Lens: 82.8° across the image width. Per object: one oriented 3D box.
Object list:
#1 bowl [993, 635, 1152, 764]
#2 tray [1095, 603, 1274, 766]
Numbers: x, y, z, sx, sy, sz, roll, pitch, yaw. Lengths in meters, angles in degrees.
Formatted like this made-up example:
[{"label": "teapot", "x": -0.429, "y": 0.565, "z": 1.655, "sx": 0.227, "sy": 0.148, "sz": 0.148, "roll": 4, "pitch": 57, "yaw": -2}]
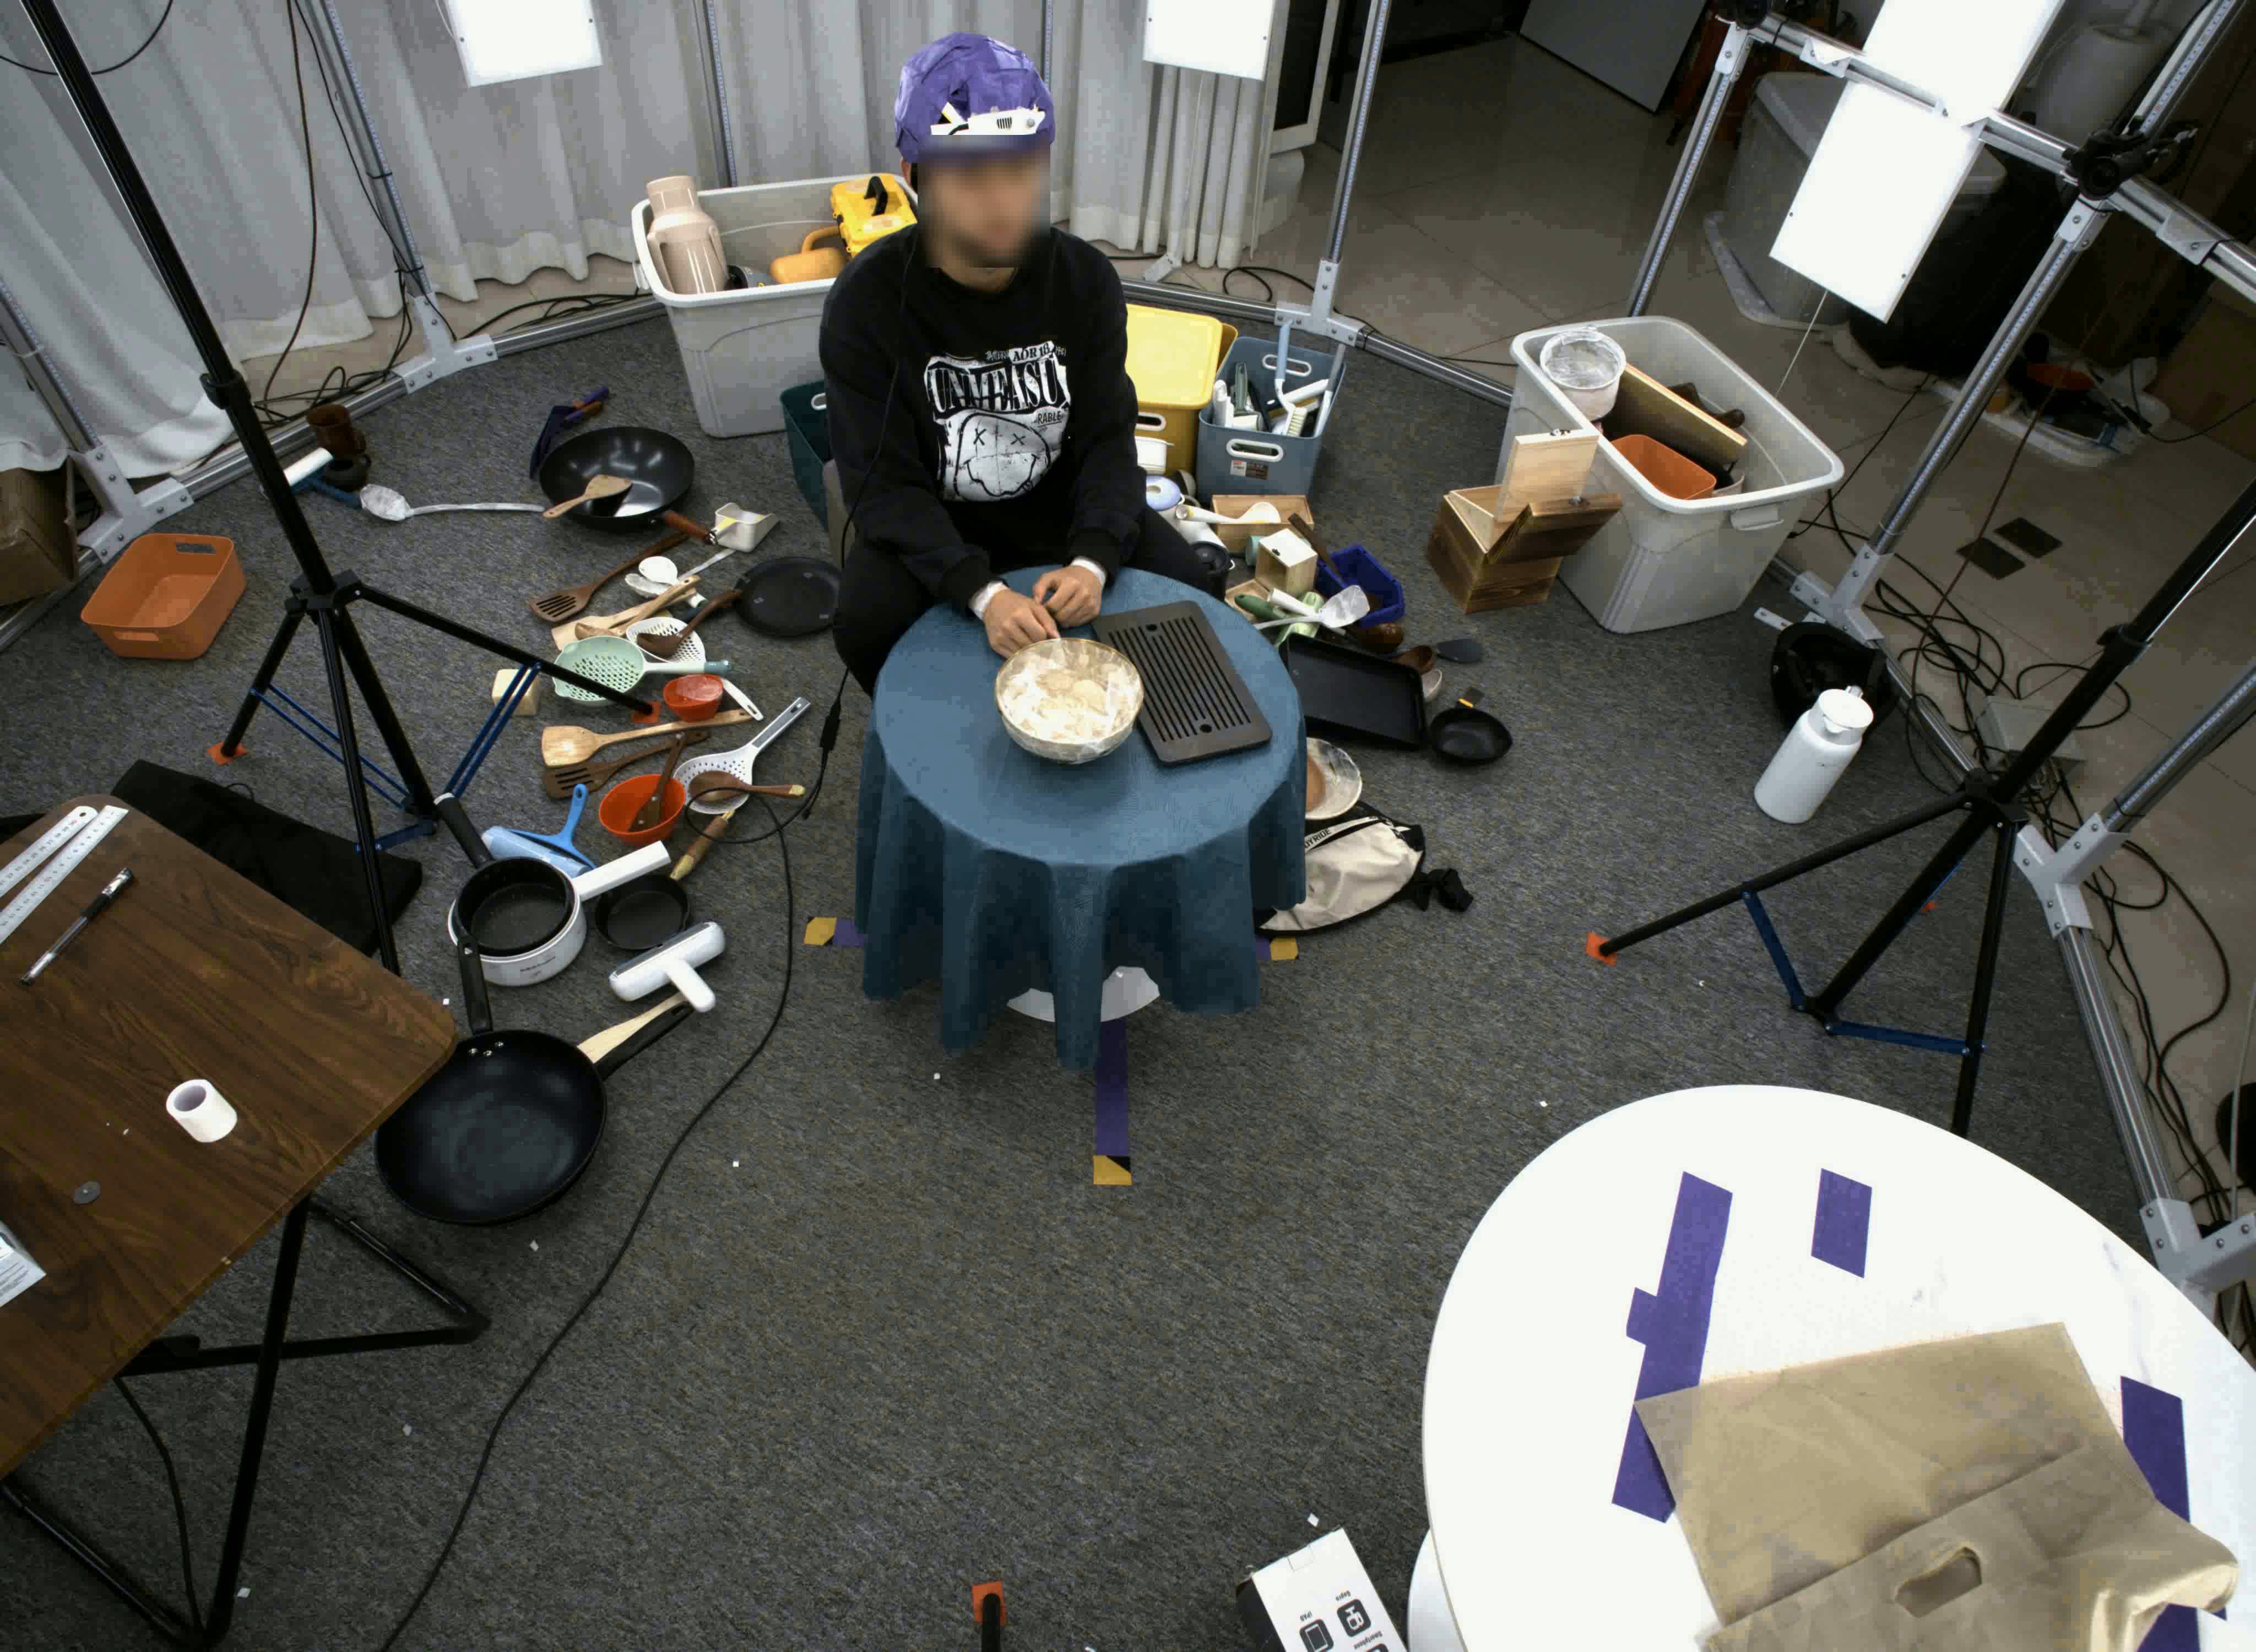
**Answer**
[{"label": "bowl", "x": -0.077, "y": -0.158, "z": 1.756, "sx": 0.214, "sy": 0.092, "sz": 0.220, "roll": 1, "pitch": 49, "yaw": -1}, {"label": "tray", "x": 0.077, "y": -0.210, "z": 1.861, "sx": 0.170, "sy": 0.018, "sz": 0.313, "roll": -13, "pitch": 51, "yaw": -15}]
